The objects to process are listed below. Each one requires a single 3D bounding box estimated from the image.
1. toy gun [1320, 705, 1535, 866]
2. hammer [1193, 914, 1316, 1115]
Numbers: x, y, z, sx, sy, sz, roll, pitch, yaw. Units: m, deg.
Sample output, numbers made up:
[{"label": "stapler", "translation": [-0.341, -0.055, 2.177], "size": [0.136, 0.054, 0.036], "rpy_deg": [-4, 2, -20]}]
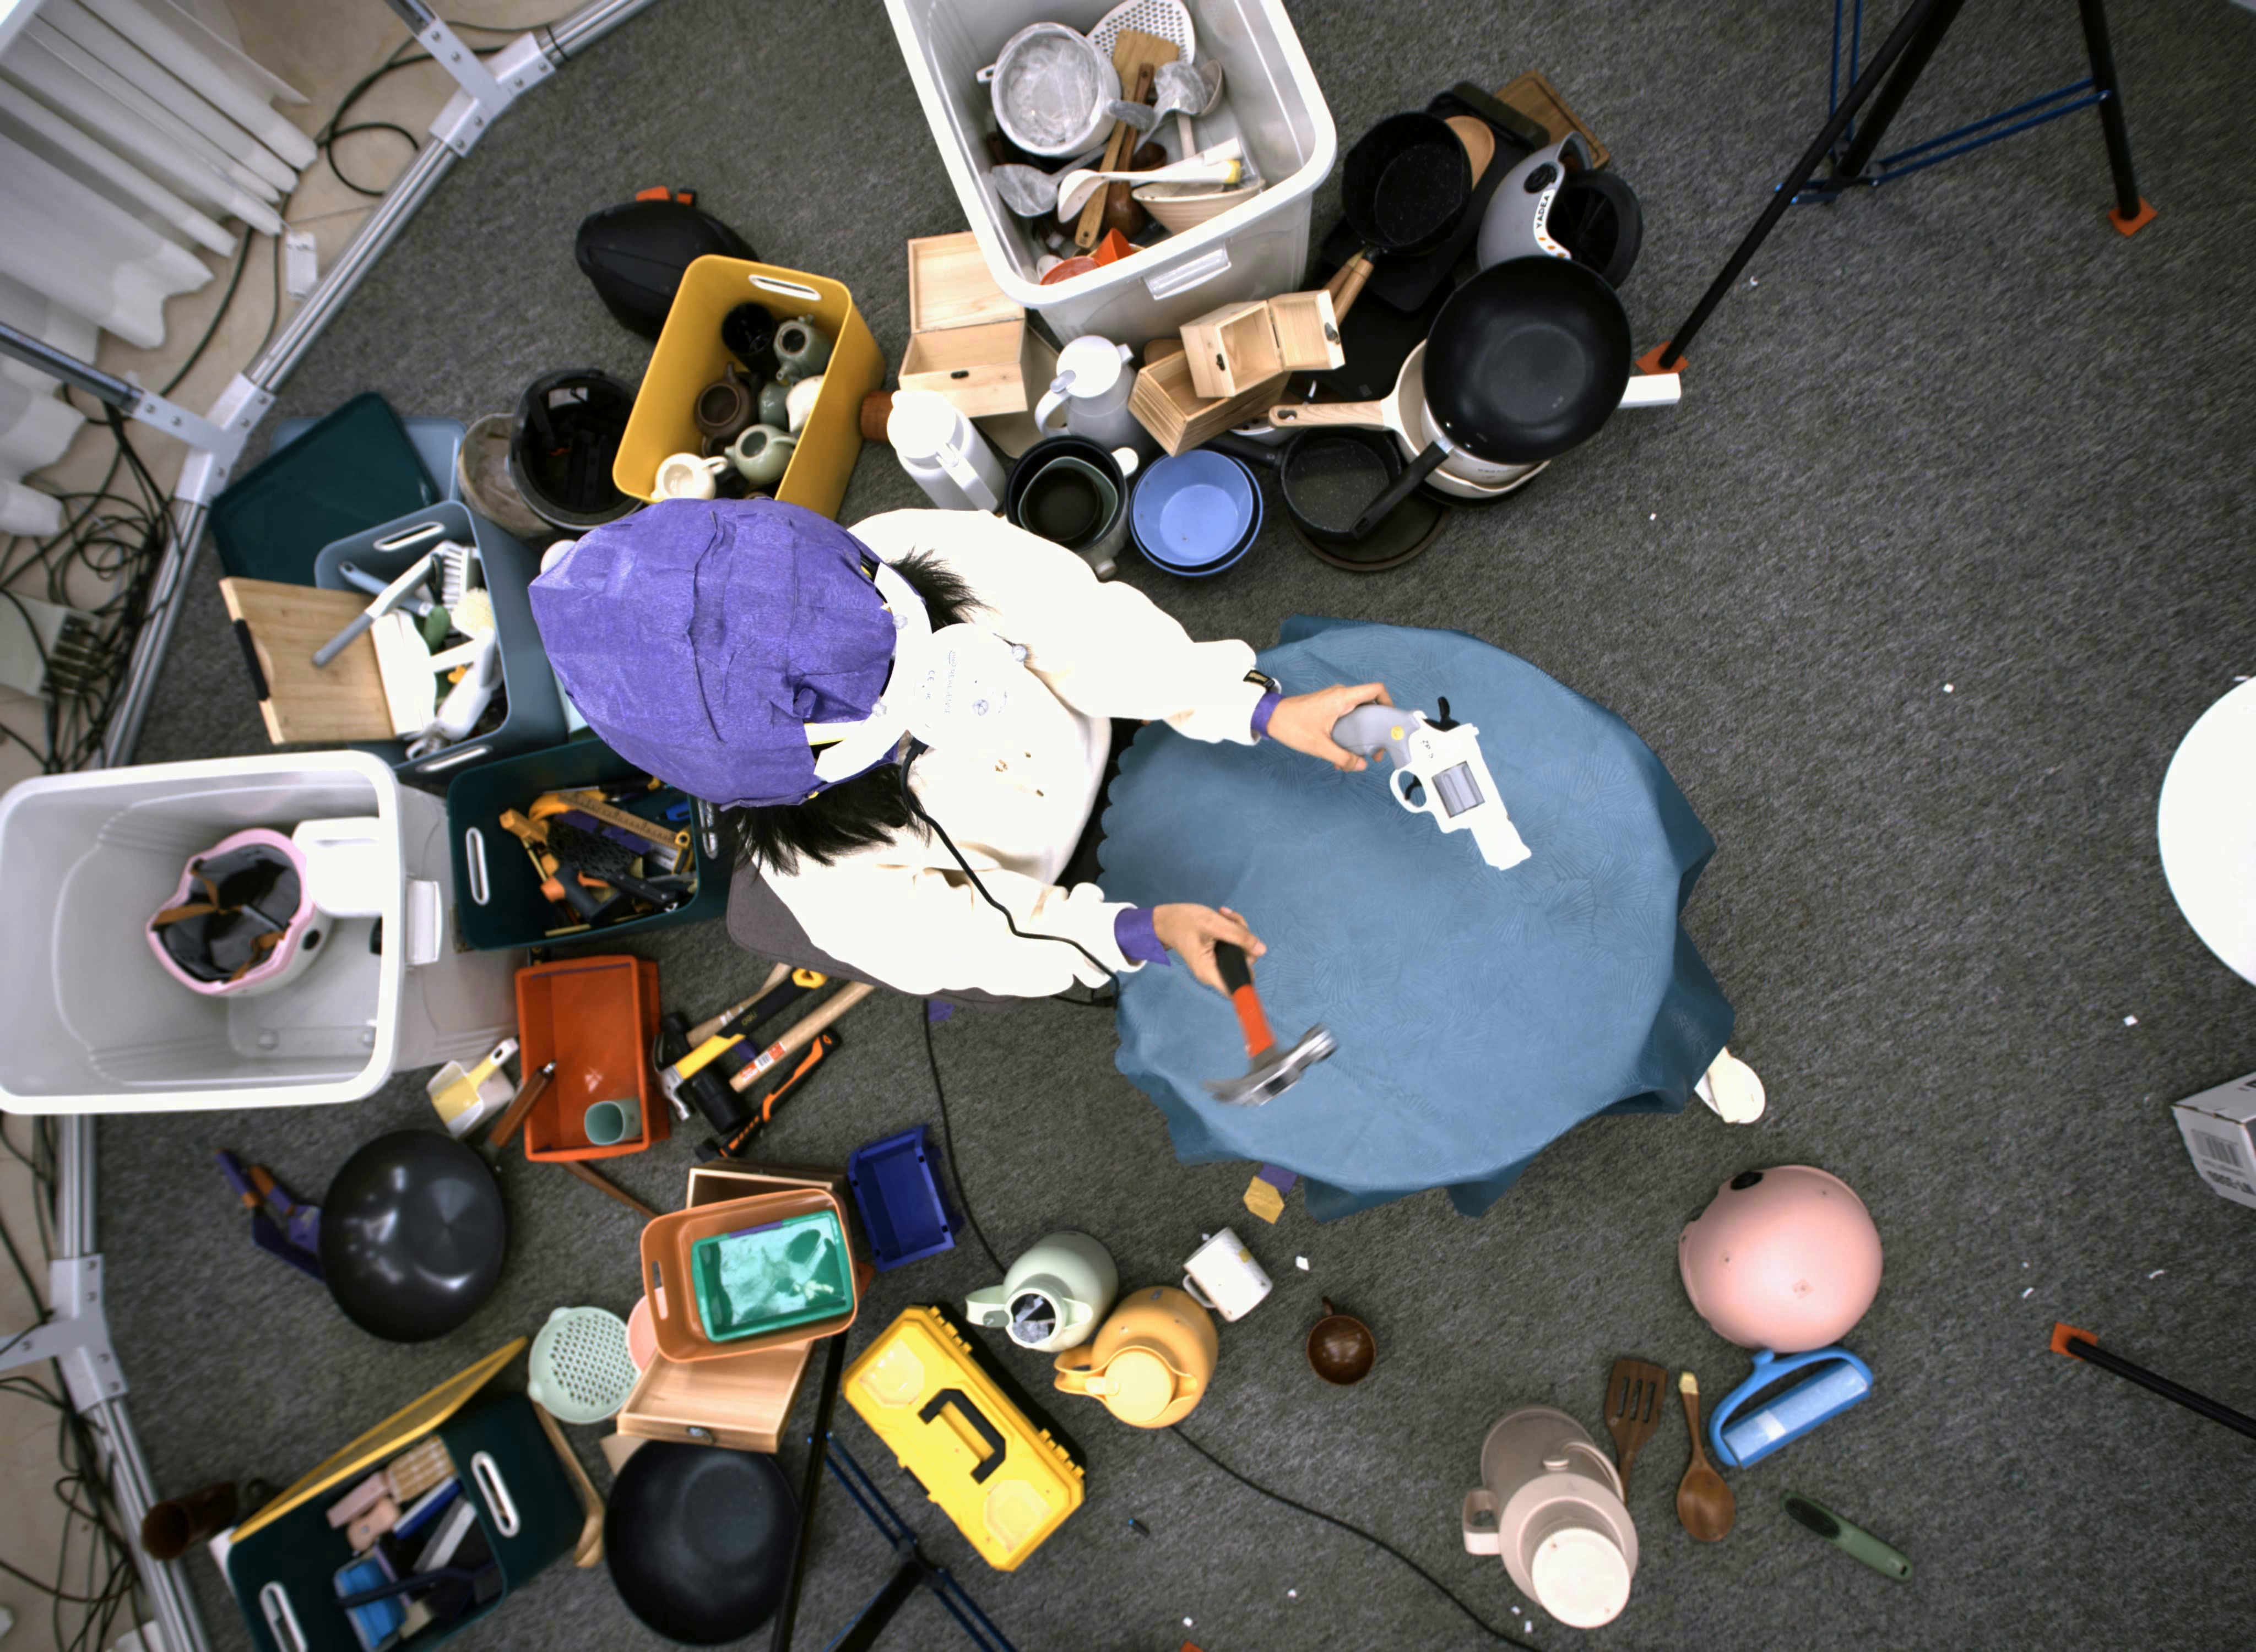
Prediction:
[{"label": "toy gun", "translation": [0.278, -0.042, 1.298], "size": [0.144, 0.038, 0.208], "rpy_deg": [-30, 83, 36]}, {"label": "hammer", "translation": [0.093, 0.152, 1.204], "size": [0.026, 0.272, 0.112], "rpy_deg": [39, 107, -18]}]
